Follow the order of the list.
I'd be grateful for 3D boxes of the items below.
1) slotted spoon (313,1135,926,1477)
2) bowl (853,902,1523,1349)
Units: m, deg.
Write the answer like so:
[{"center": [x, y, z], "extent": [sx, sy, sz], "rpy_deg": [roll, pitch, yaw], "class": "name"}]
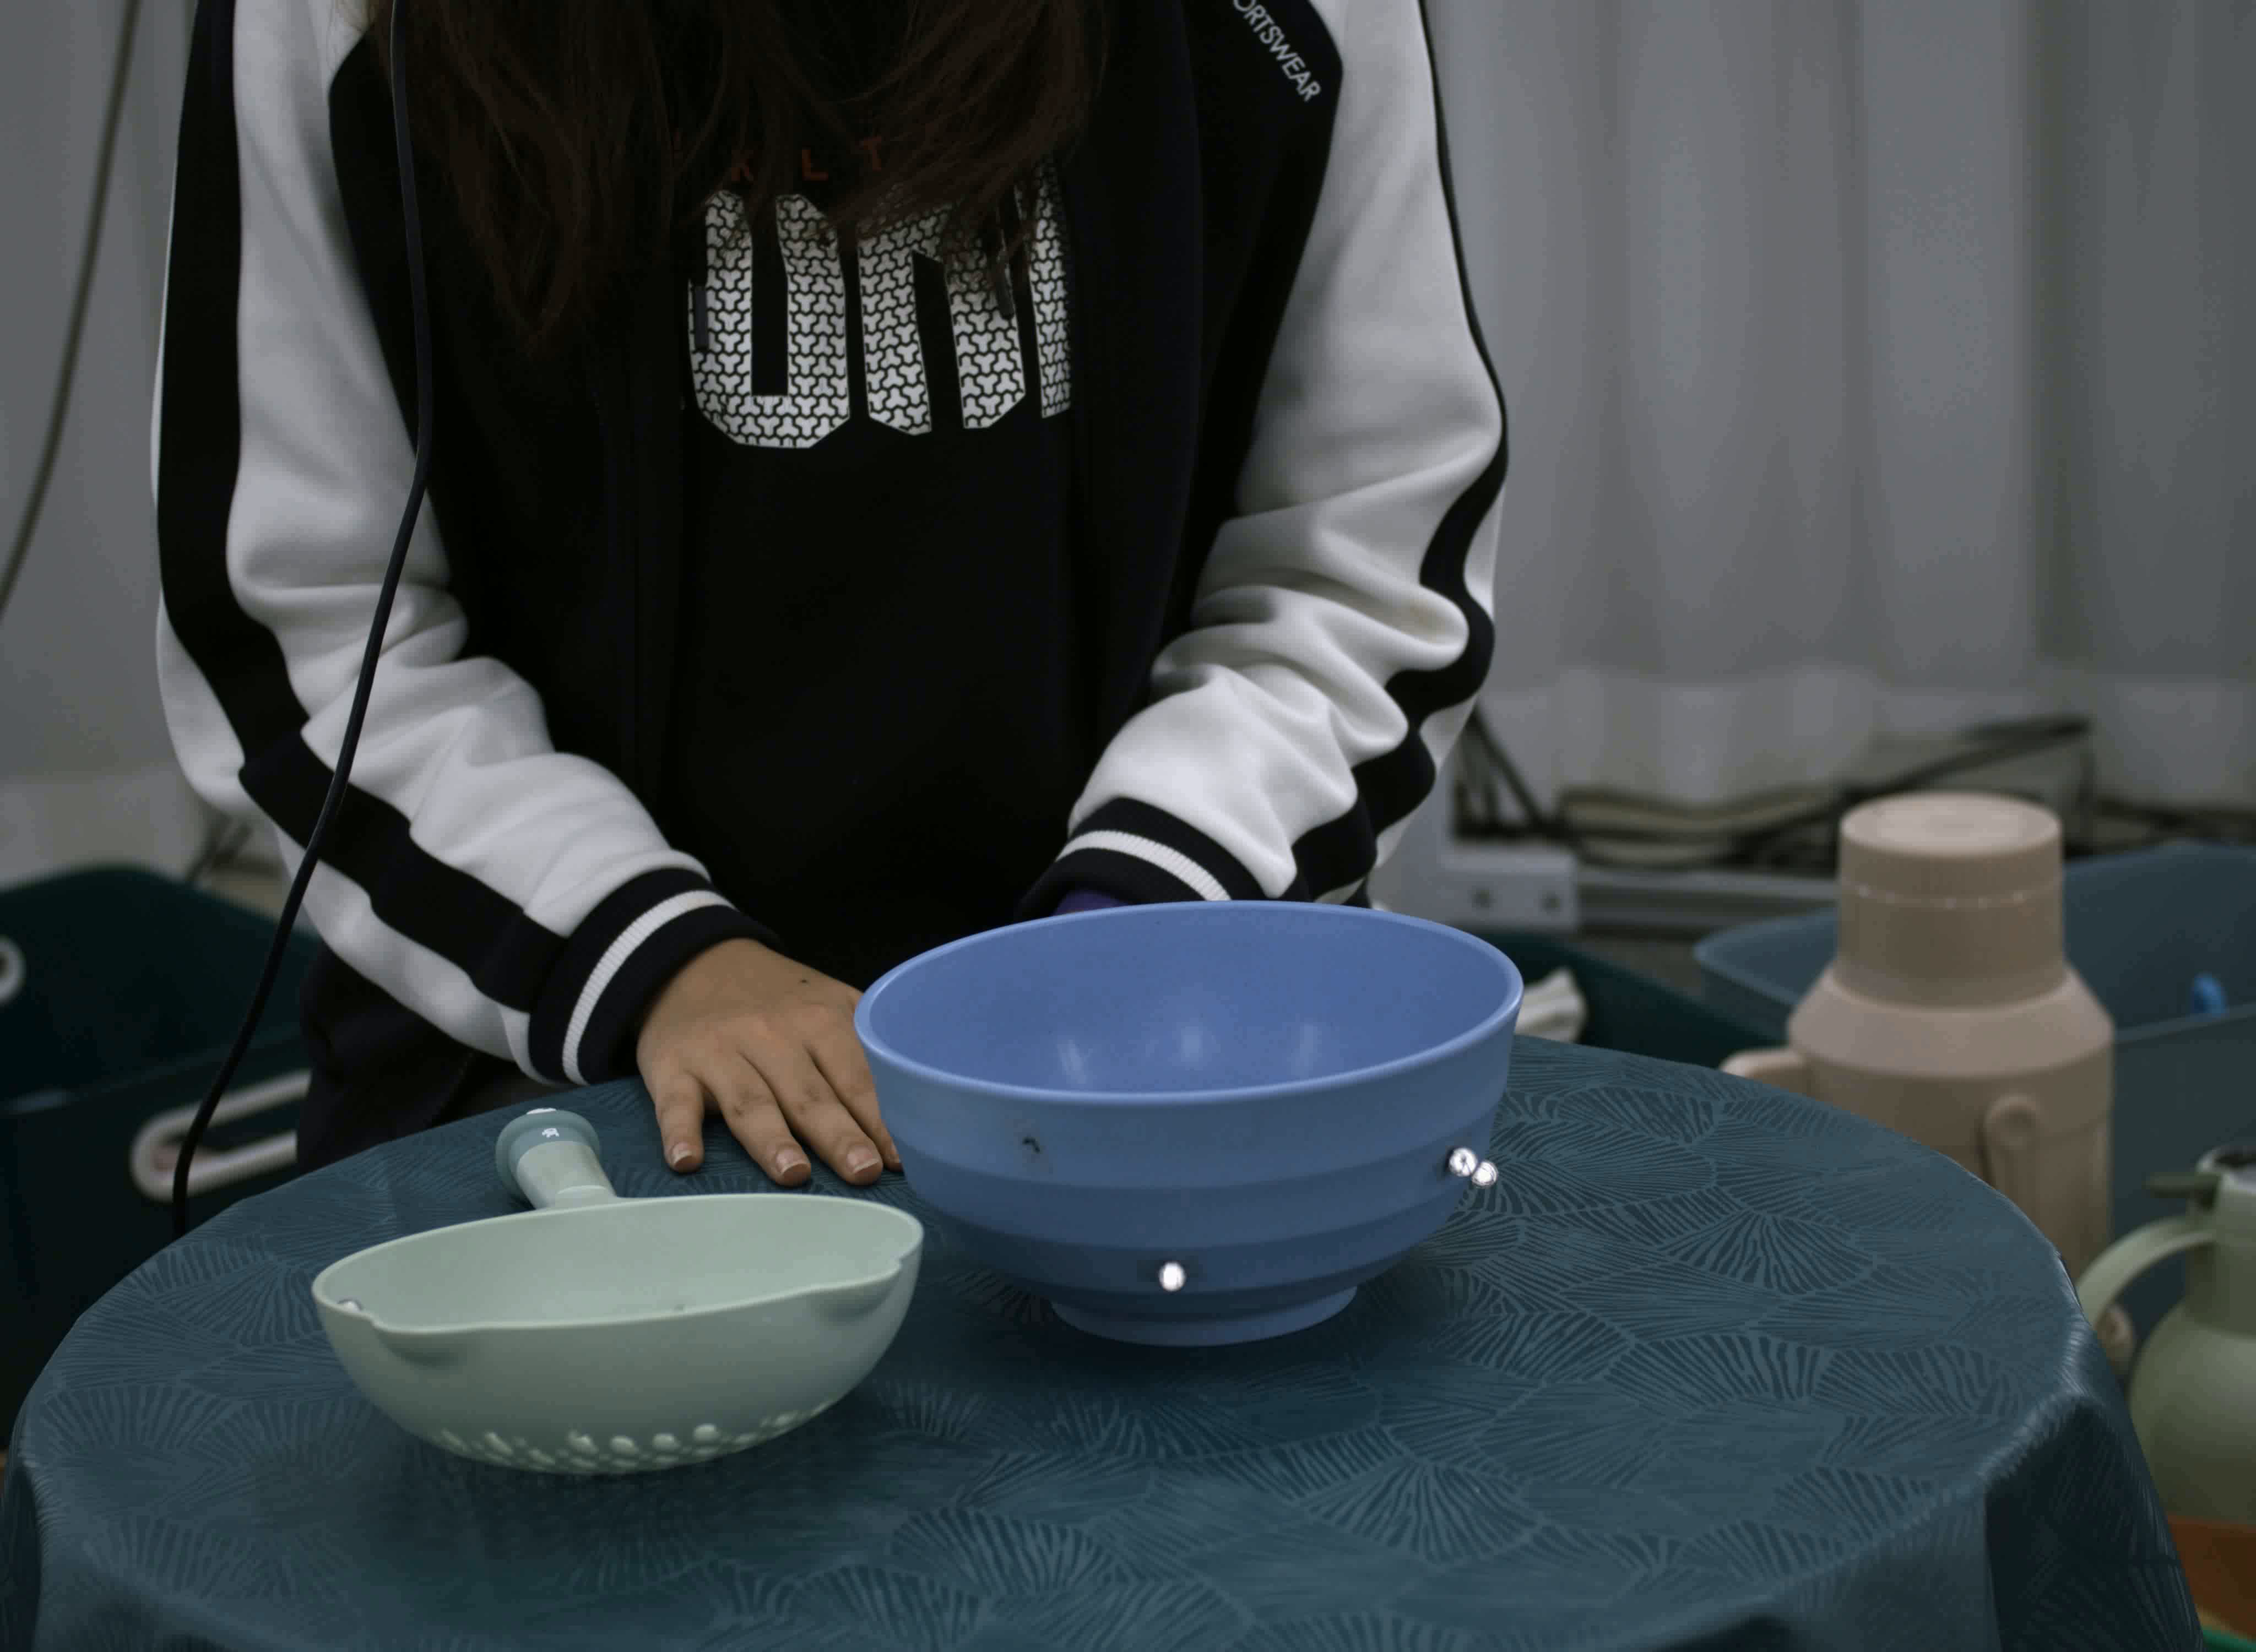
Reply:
[{"center": [-0.156, 0.124, 1.600], "extent": [0.168, 0.075, 0.361], "rpy_deg": [-5, 13, -10], "class": "slotted spoon"}, {"center": [0.020, 0.094, 1.607], "extent": [0.196, 0.095, 0.198], "rpy_deg": [-3, 14, 1], "class": "bowl"}]
